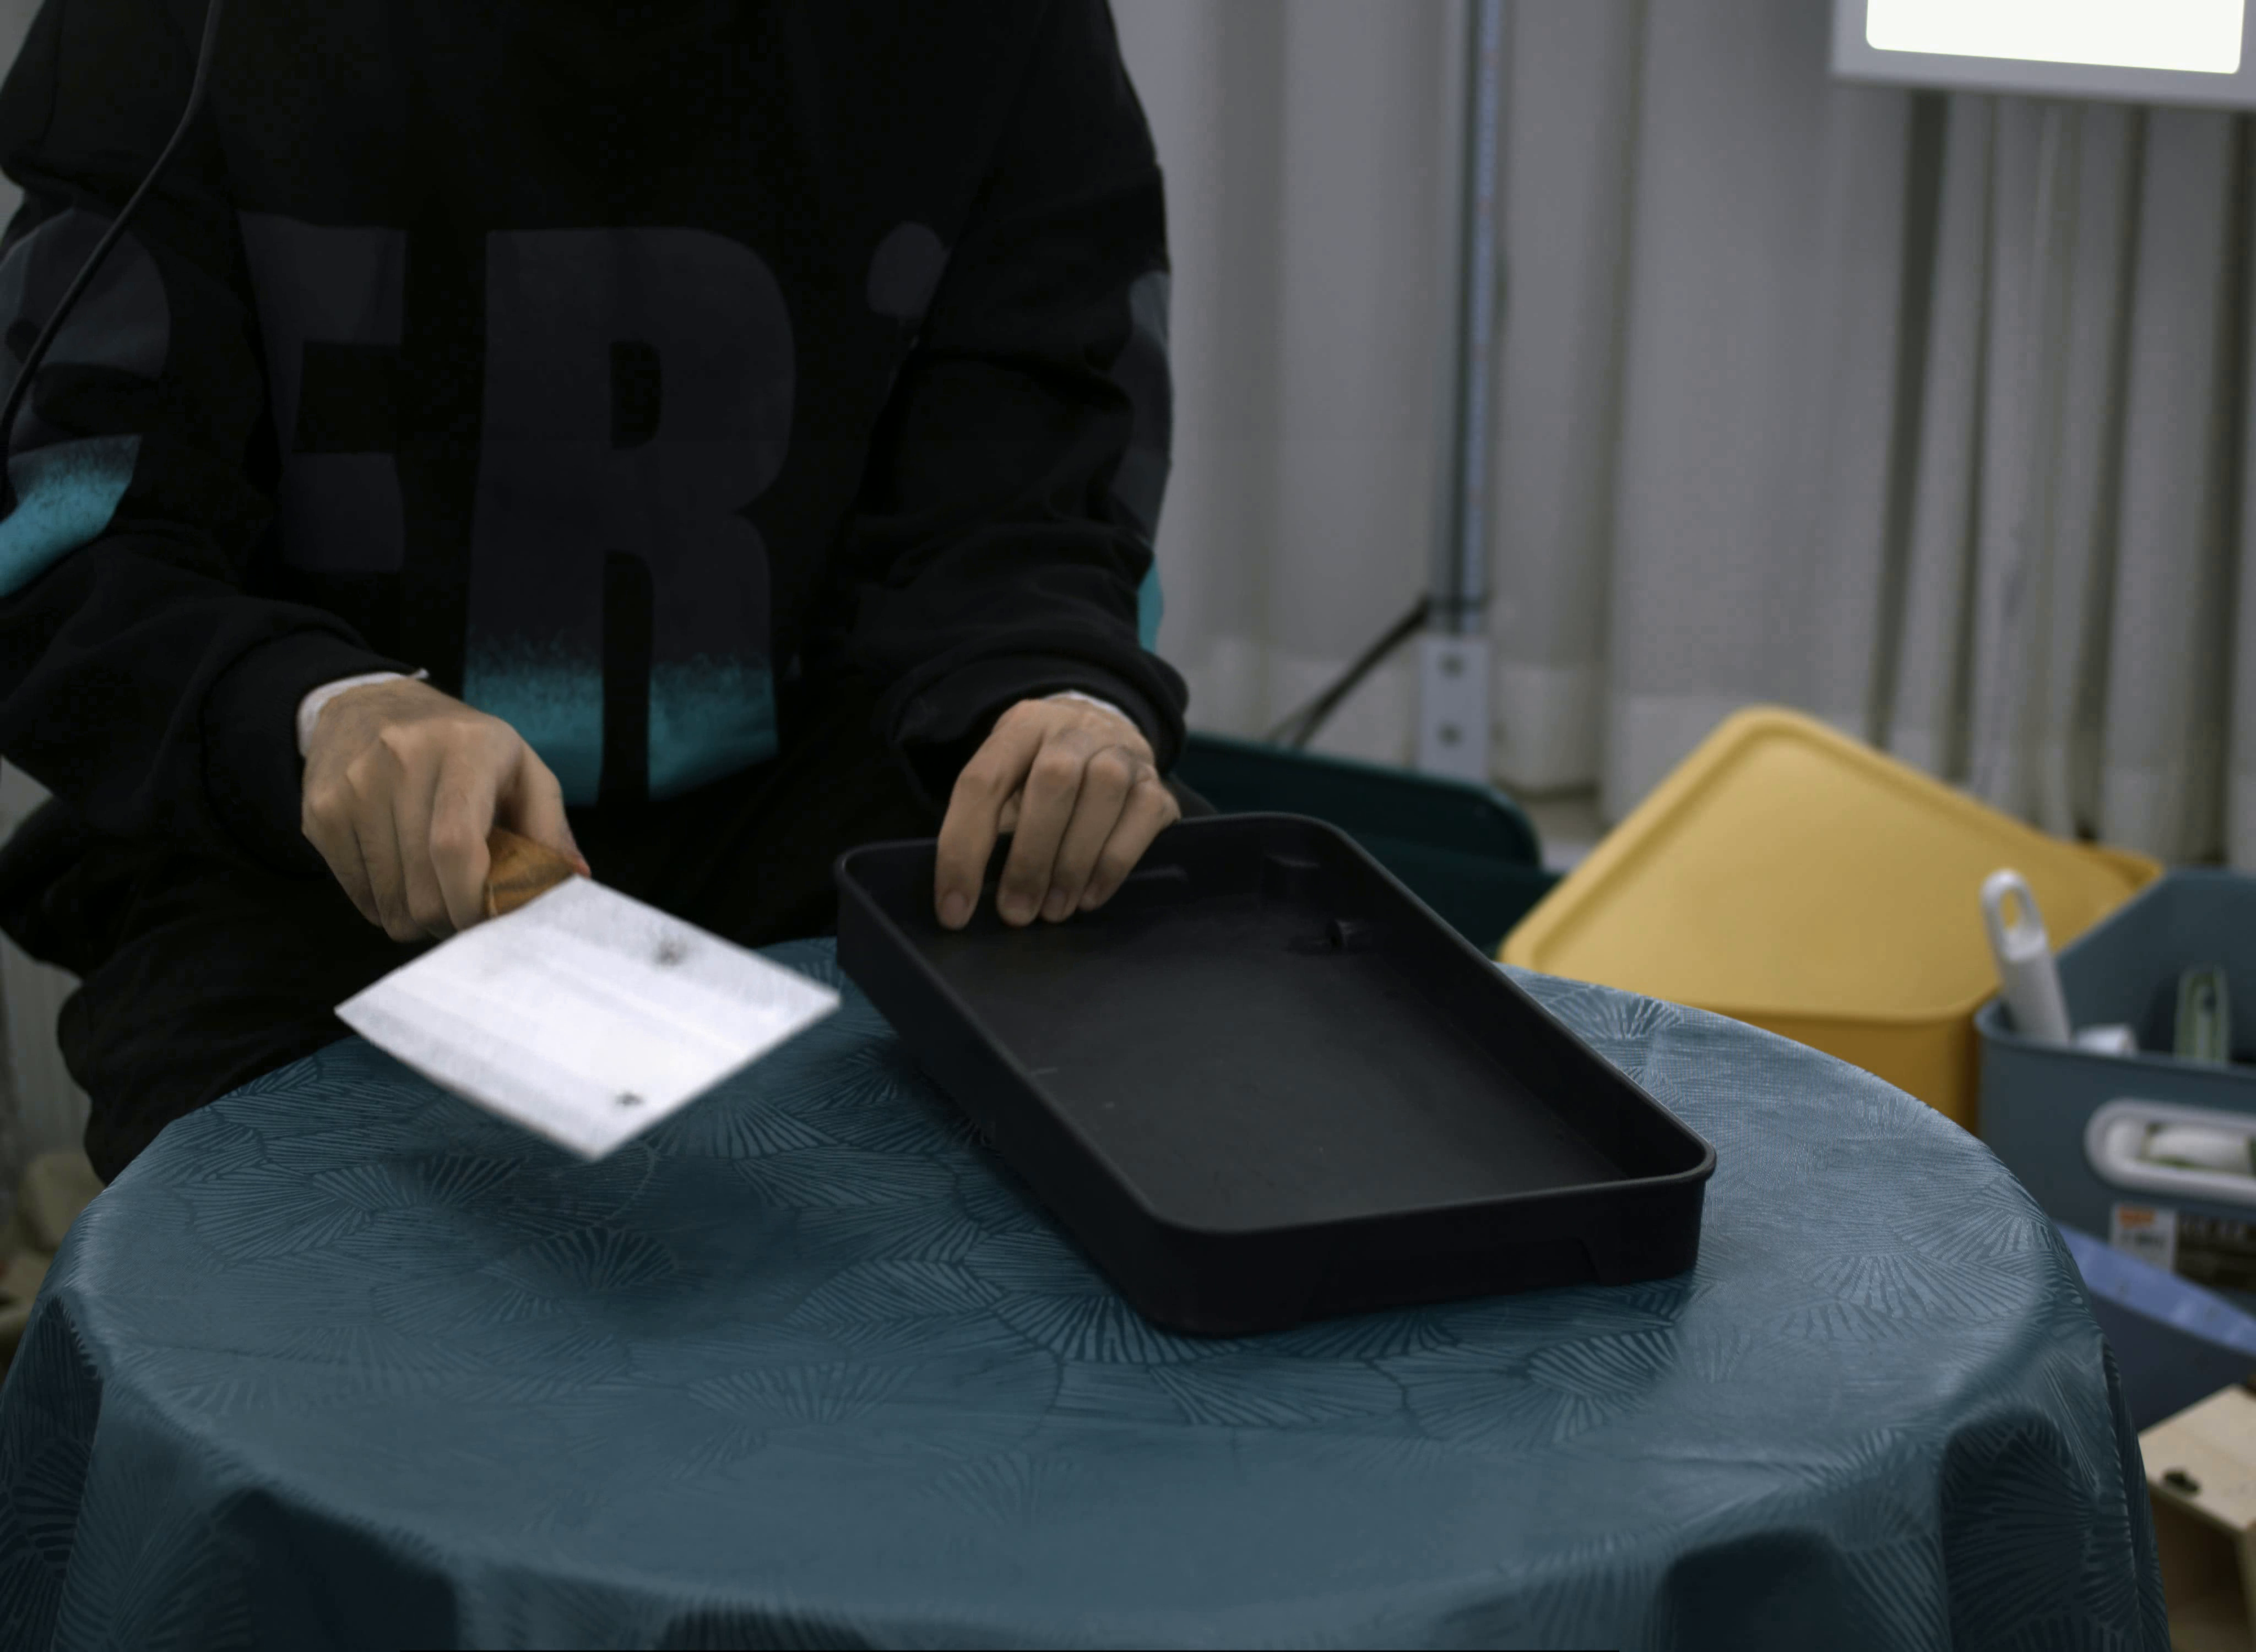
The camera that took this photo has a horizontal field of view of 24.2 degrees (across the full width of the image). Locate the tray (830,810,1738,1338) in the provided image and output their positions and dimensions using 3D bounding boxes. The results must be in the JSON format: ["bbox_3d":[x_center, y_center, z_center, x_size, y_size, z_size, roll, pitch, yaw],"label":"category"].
[{"bbox_3d":[0.040,0.071,1.646,0.185,0.037,0.314,-5,22,-23],"label":"tray"}]

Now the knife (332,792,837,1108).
[{"bbox_3d":[-0.194,0.039,1.636,0.093,0.021,0.302,-33,26,-22],"label":"knife"}]
